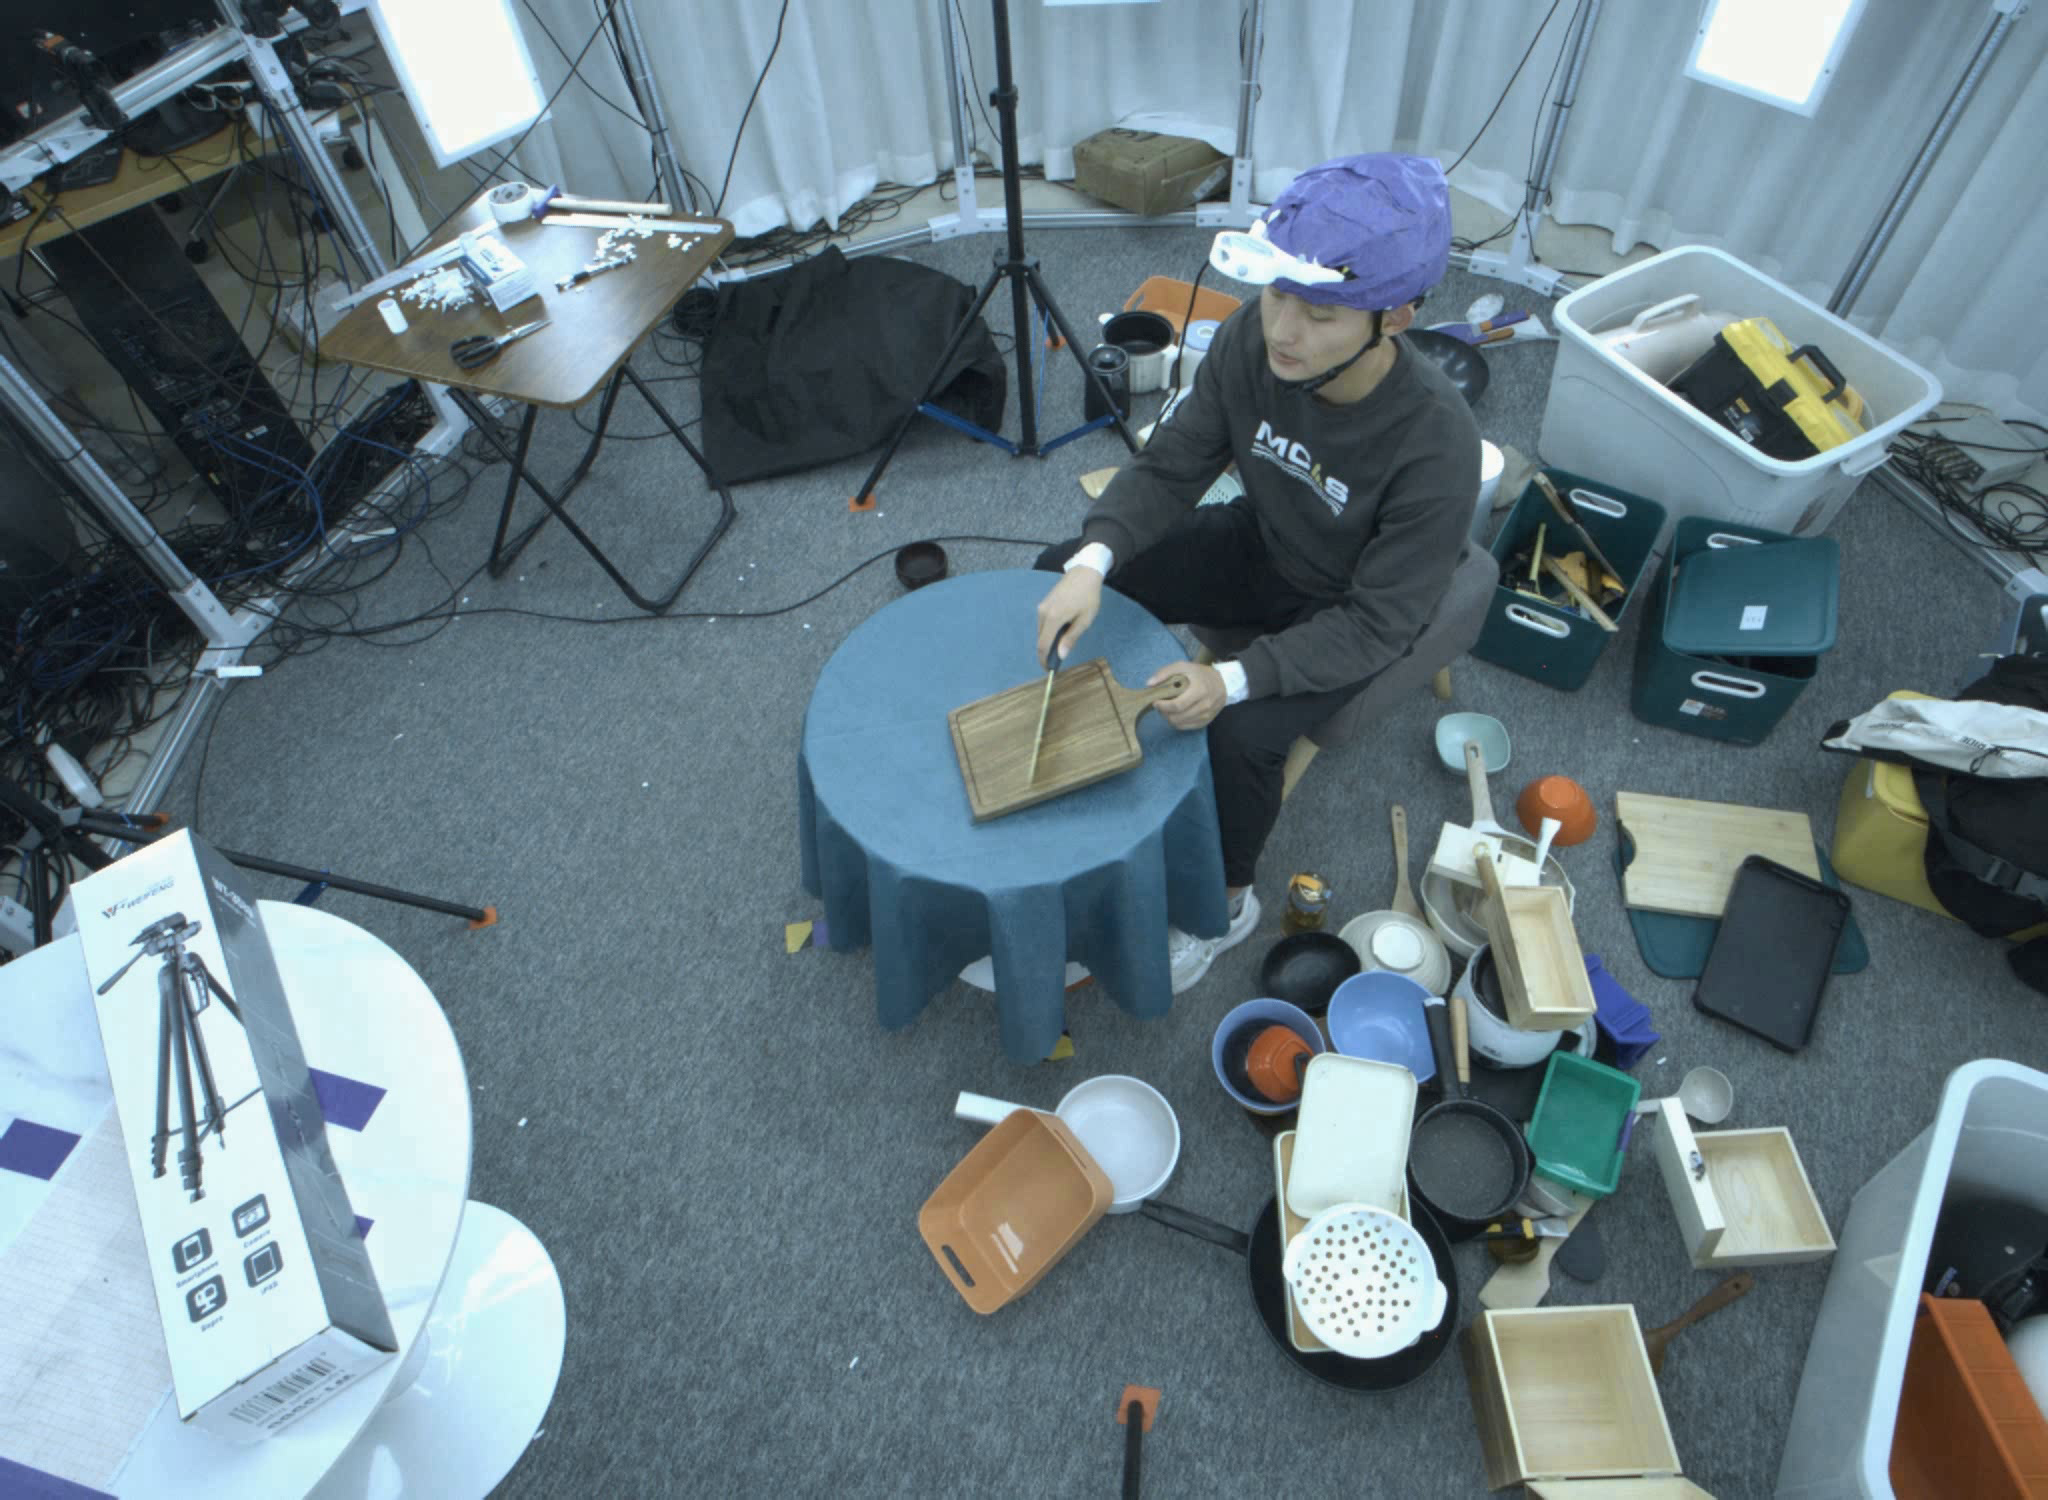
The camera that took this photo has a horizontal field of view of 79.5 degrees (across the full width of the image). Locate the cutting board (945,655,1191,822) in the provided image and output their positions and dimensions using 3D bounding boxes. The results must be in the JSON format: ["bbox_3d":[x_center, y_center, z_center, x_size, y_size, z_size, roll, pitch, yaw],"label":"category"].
[{"bbox_3d":[0.072,-0.036,1.766,0.352,0.023,0.198,-20,56,1],"label":"cutting board"}]

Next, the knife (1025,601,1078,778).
[{"bbox_3d":[0.036,-0.088,1.757,0.027,0.081,0.288,14,64,1],"label":"knife"}]
